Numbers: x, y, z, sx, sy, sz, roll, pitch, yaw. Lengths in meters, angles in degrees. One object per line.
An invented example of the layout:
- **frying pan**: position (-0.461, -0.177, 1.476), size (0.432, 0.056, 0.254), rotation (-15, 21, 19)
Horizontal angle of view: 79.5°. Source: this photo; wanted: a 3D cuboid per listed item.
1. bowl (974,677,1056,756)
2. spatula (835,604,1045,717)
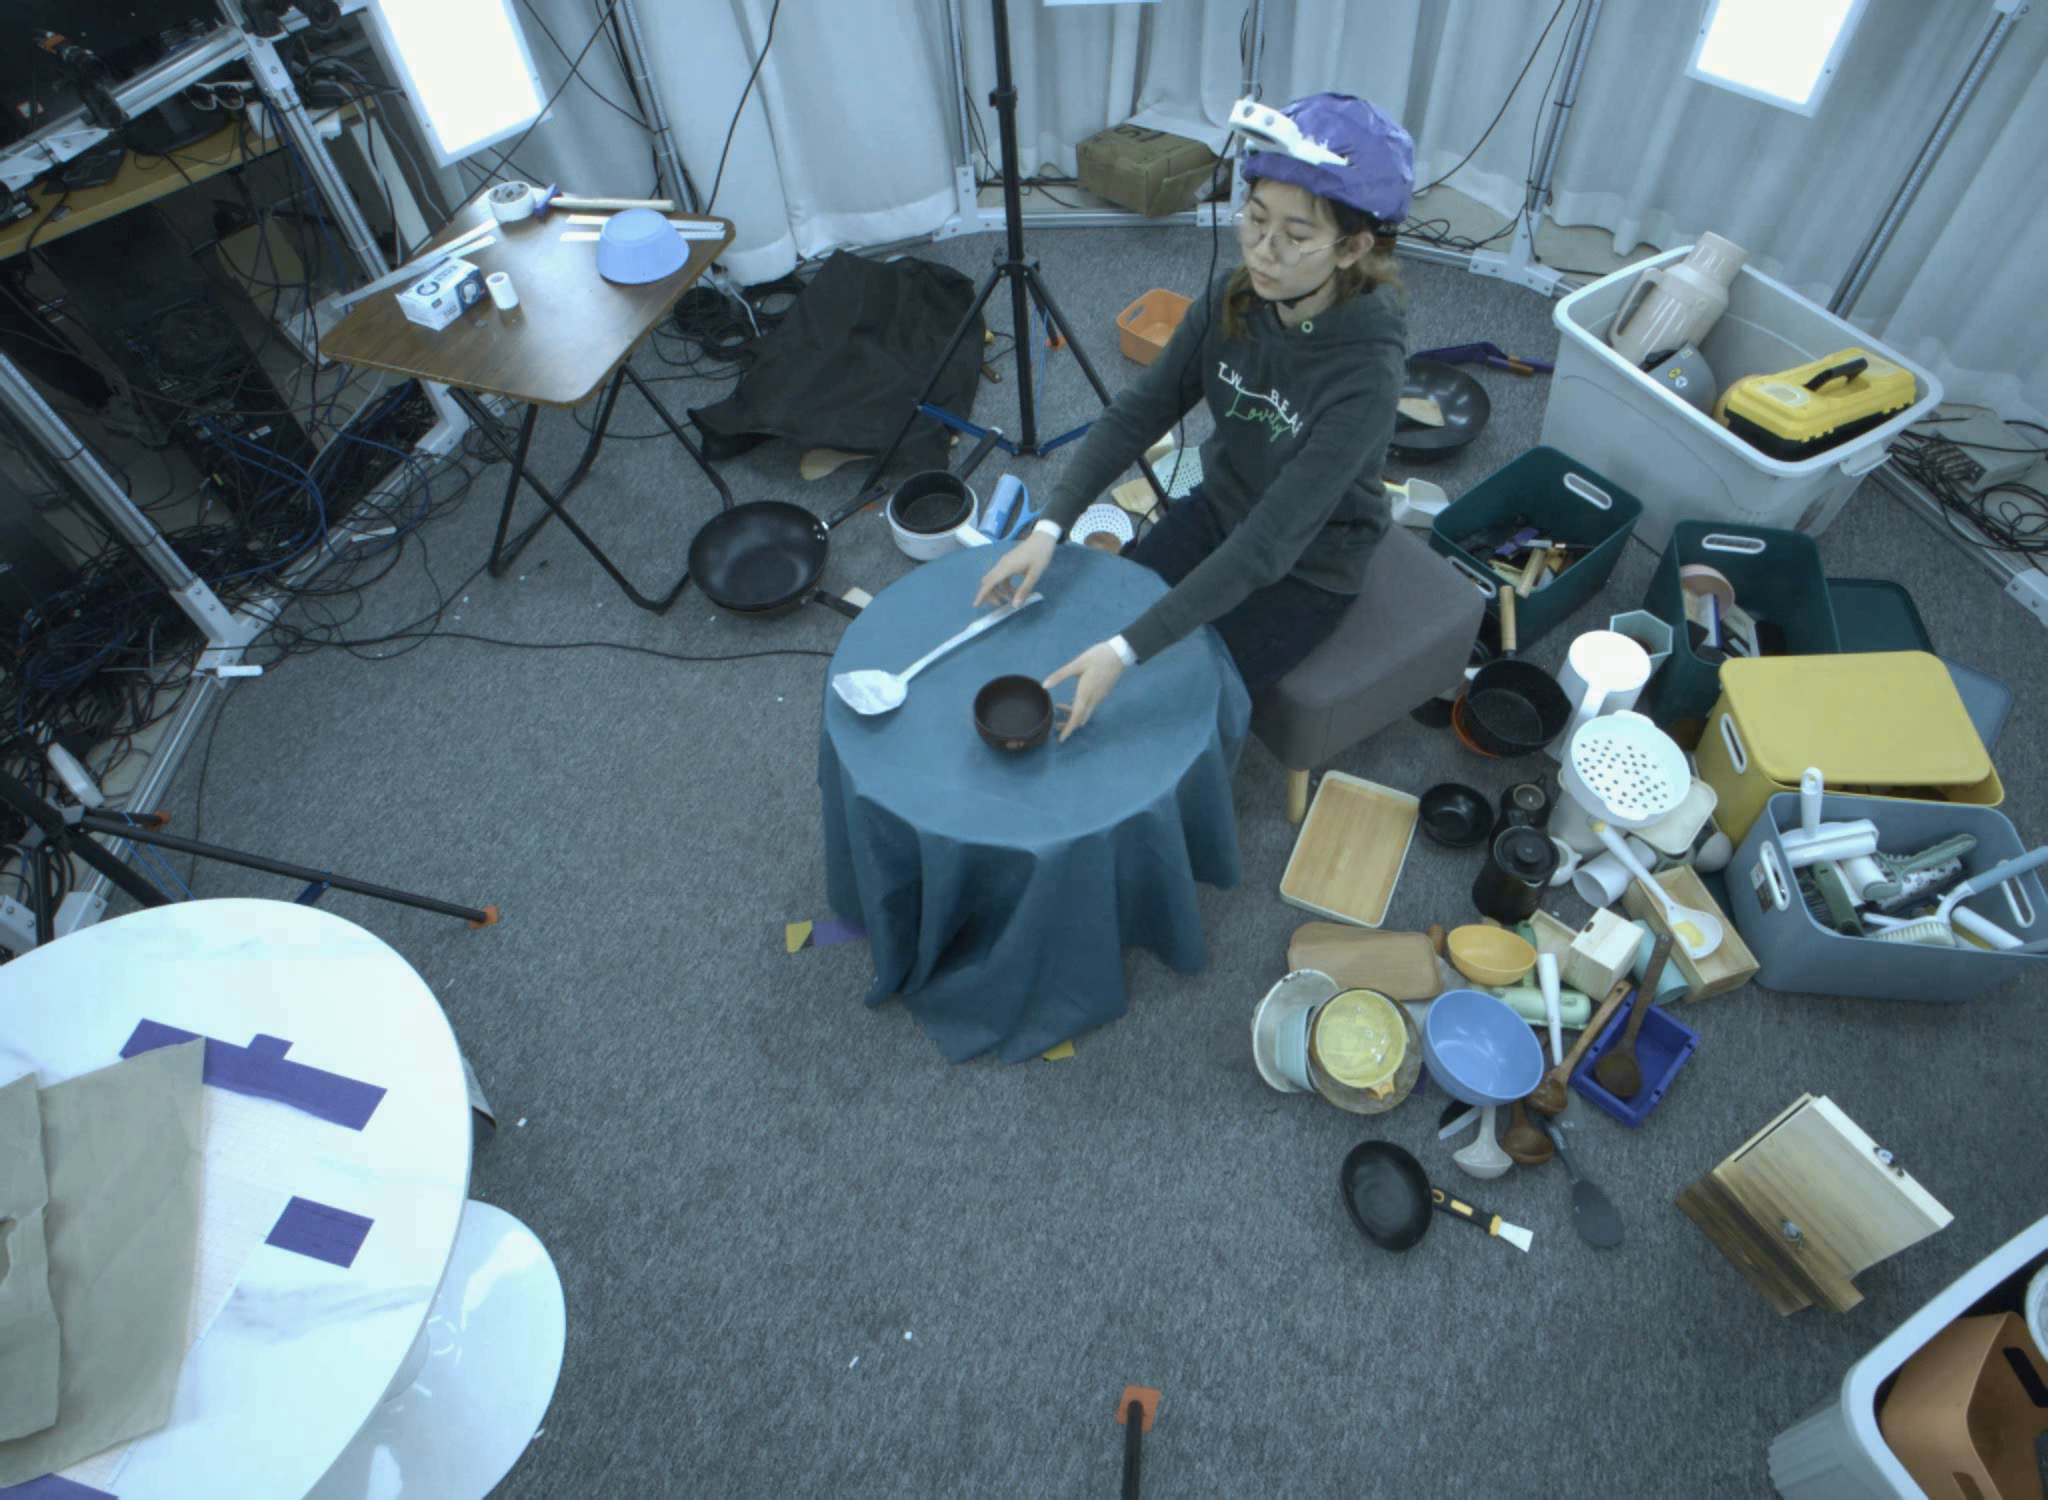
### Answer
- **bowl**: position (-0.012, -0.041, 1.783), size (0.118, 0.070, 0.117), rotation (0, 56, 1)
- **spatula**: position (-0.120, -0.152, 1.885), size (0.368, 0.045, 0.097), rotation (-33, 58, -19)
